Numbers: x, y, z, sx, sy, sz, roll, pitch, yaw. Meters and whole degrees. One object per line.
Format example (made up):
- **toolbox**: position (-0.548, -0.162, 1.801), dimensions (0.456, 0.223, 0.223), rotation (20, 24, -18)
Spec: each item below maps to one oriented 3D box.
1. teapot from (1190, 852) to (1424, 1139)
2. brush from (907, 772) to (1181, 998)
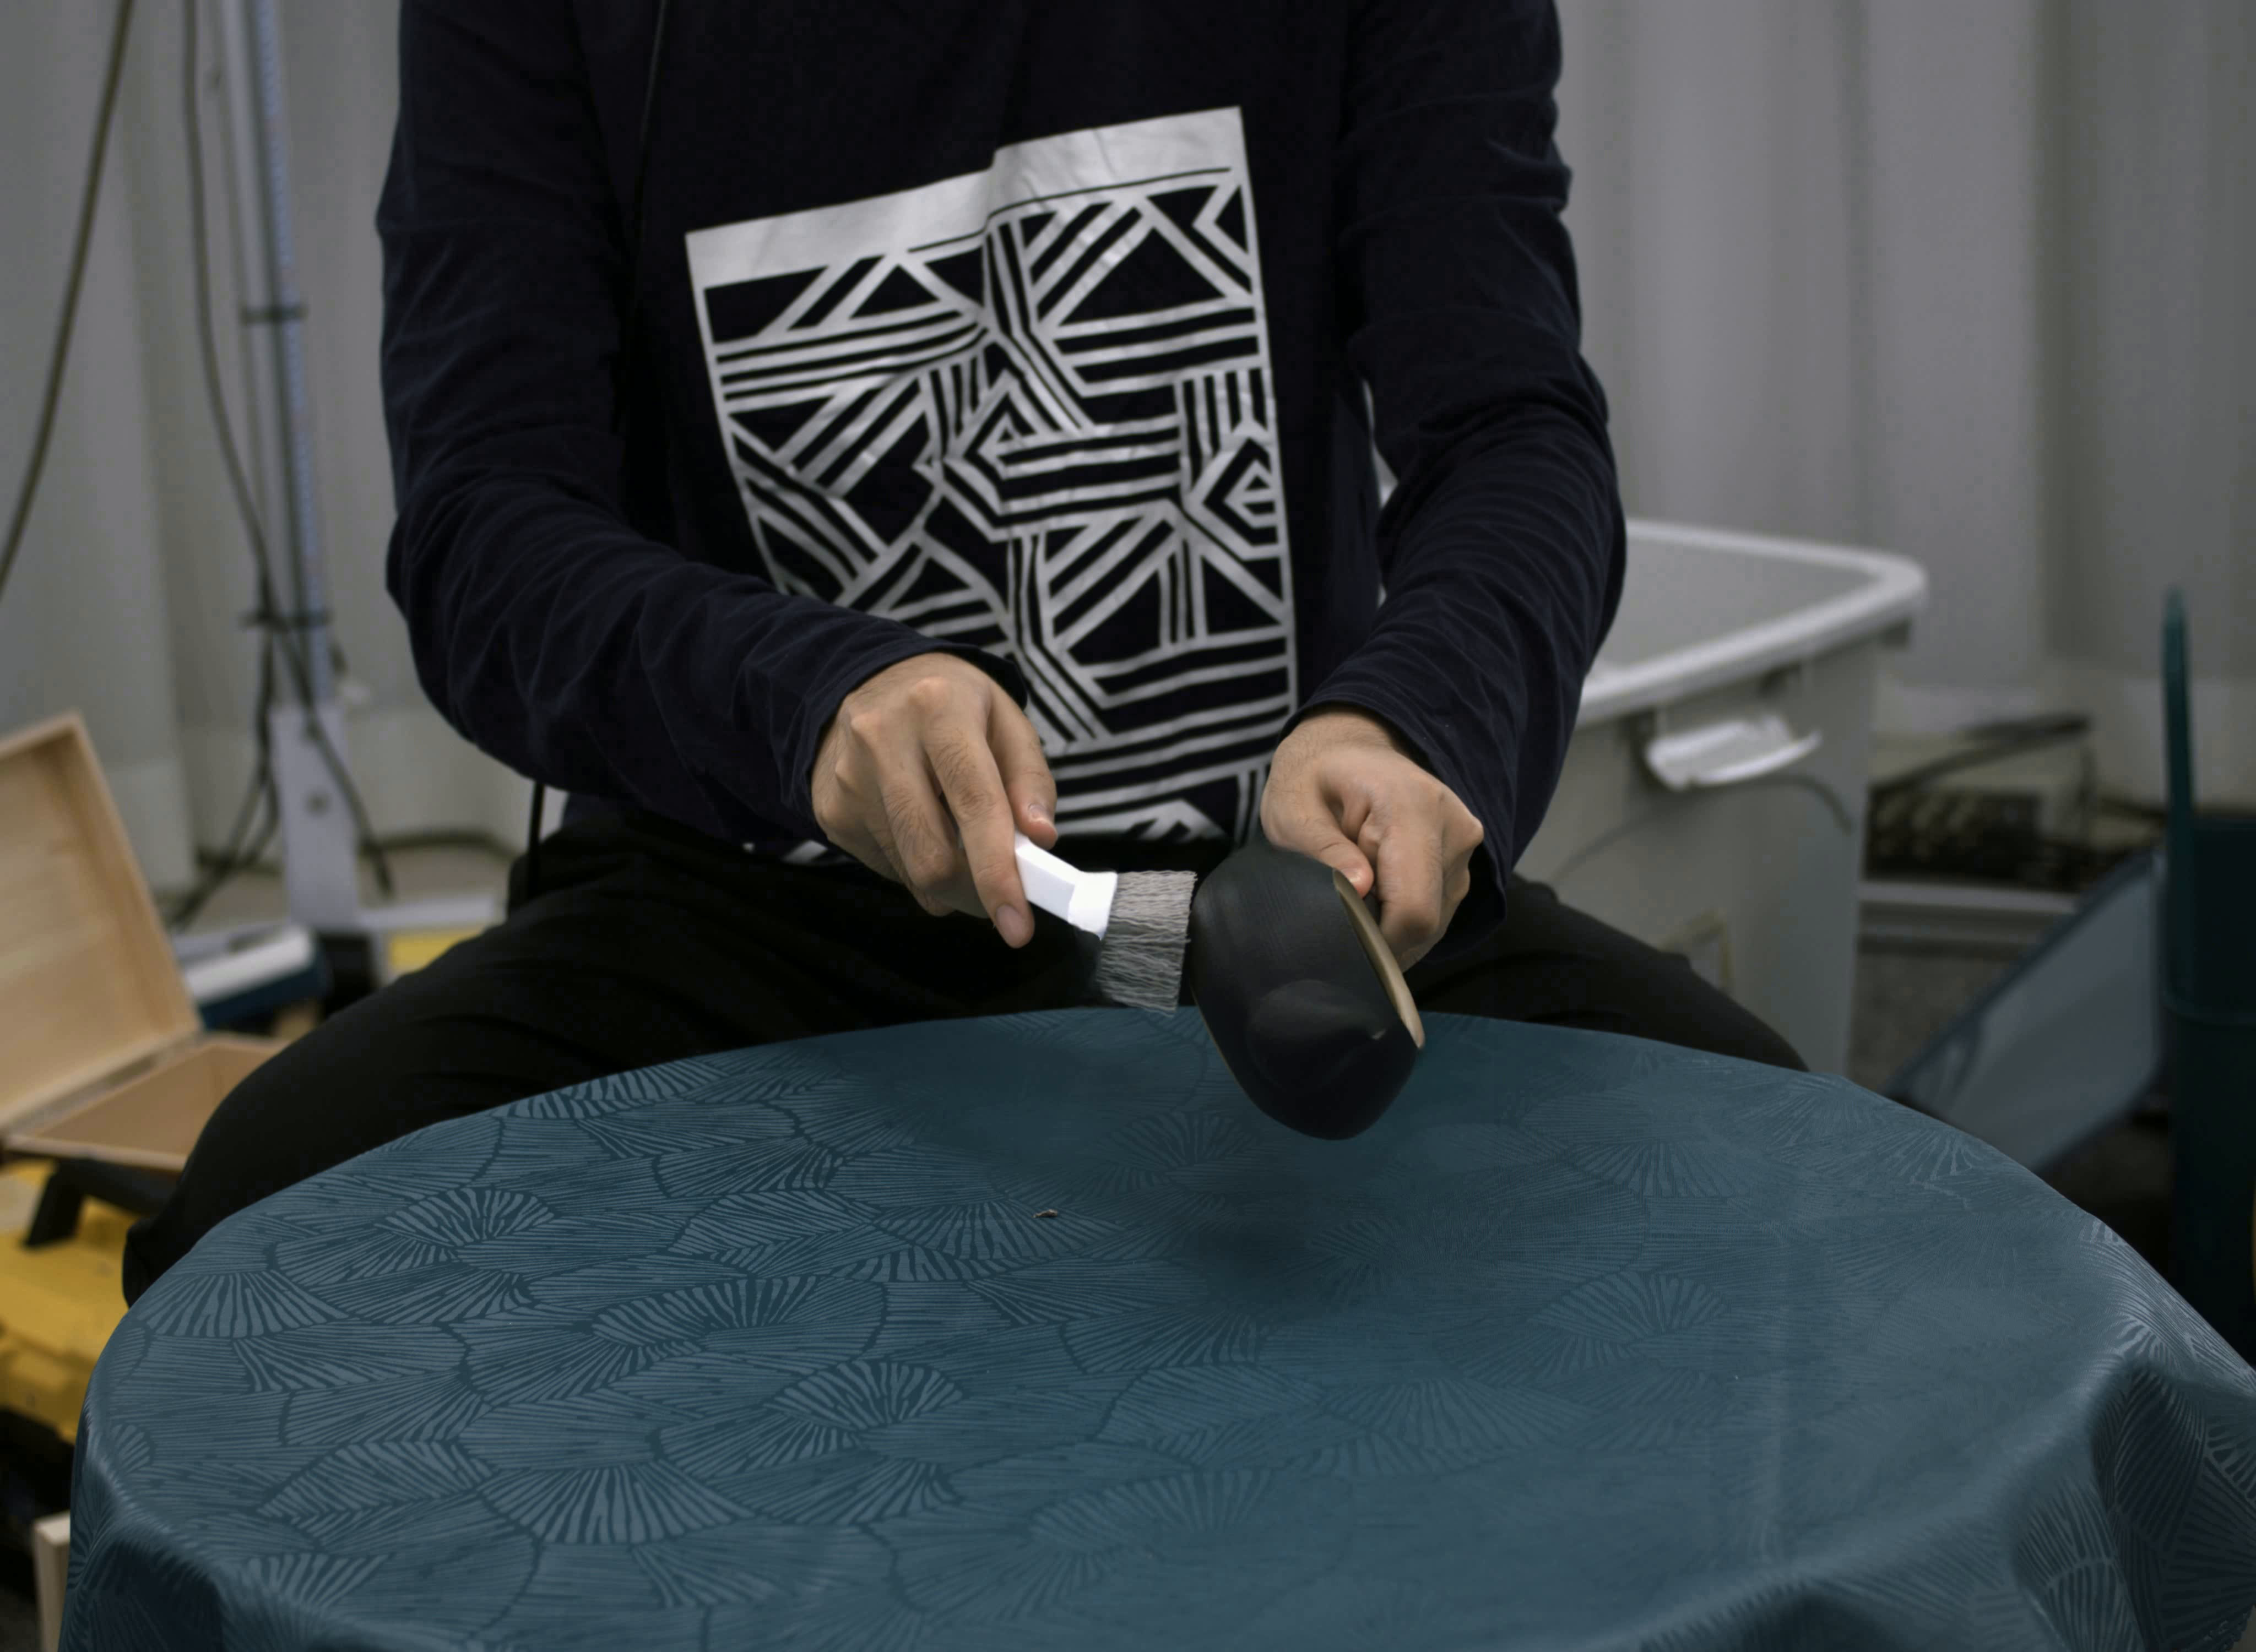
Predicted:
- **teapot**: position (0.053, 0.049, 1.641), dimensions (0.053, 0.090, 0.134), rotation (-25, 15, 10)
- **brush**: position (-0.024, 0.015, 1.739), dimensions (0.050, 0.034, 0.245), rotation (0, 11, -14)
